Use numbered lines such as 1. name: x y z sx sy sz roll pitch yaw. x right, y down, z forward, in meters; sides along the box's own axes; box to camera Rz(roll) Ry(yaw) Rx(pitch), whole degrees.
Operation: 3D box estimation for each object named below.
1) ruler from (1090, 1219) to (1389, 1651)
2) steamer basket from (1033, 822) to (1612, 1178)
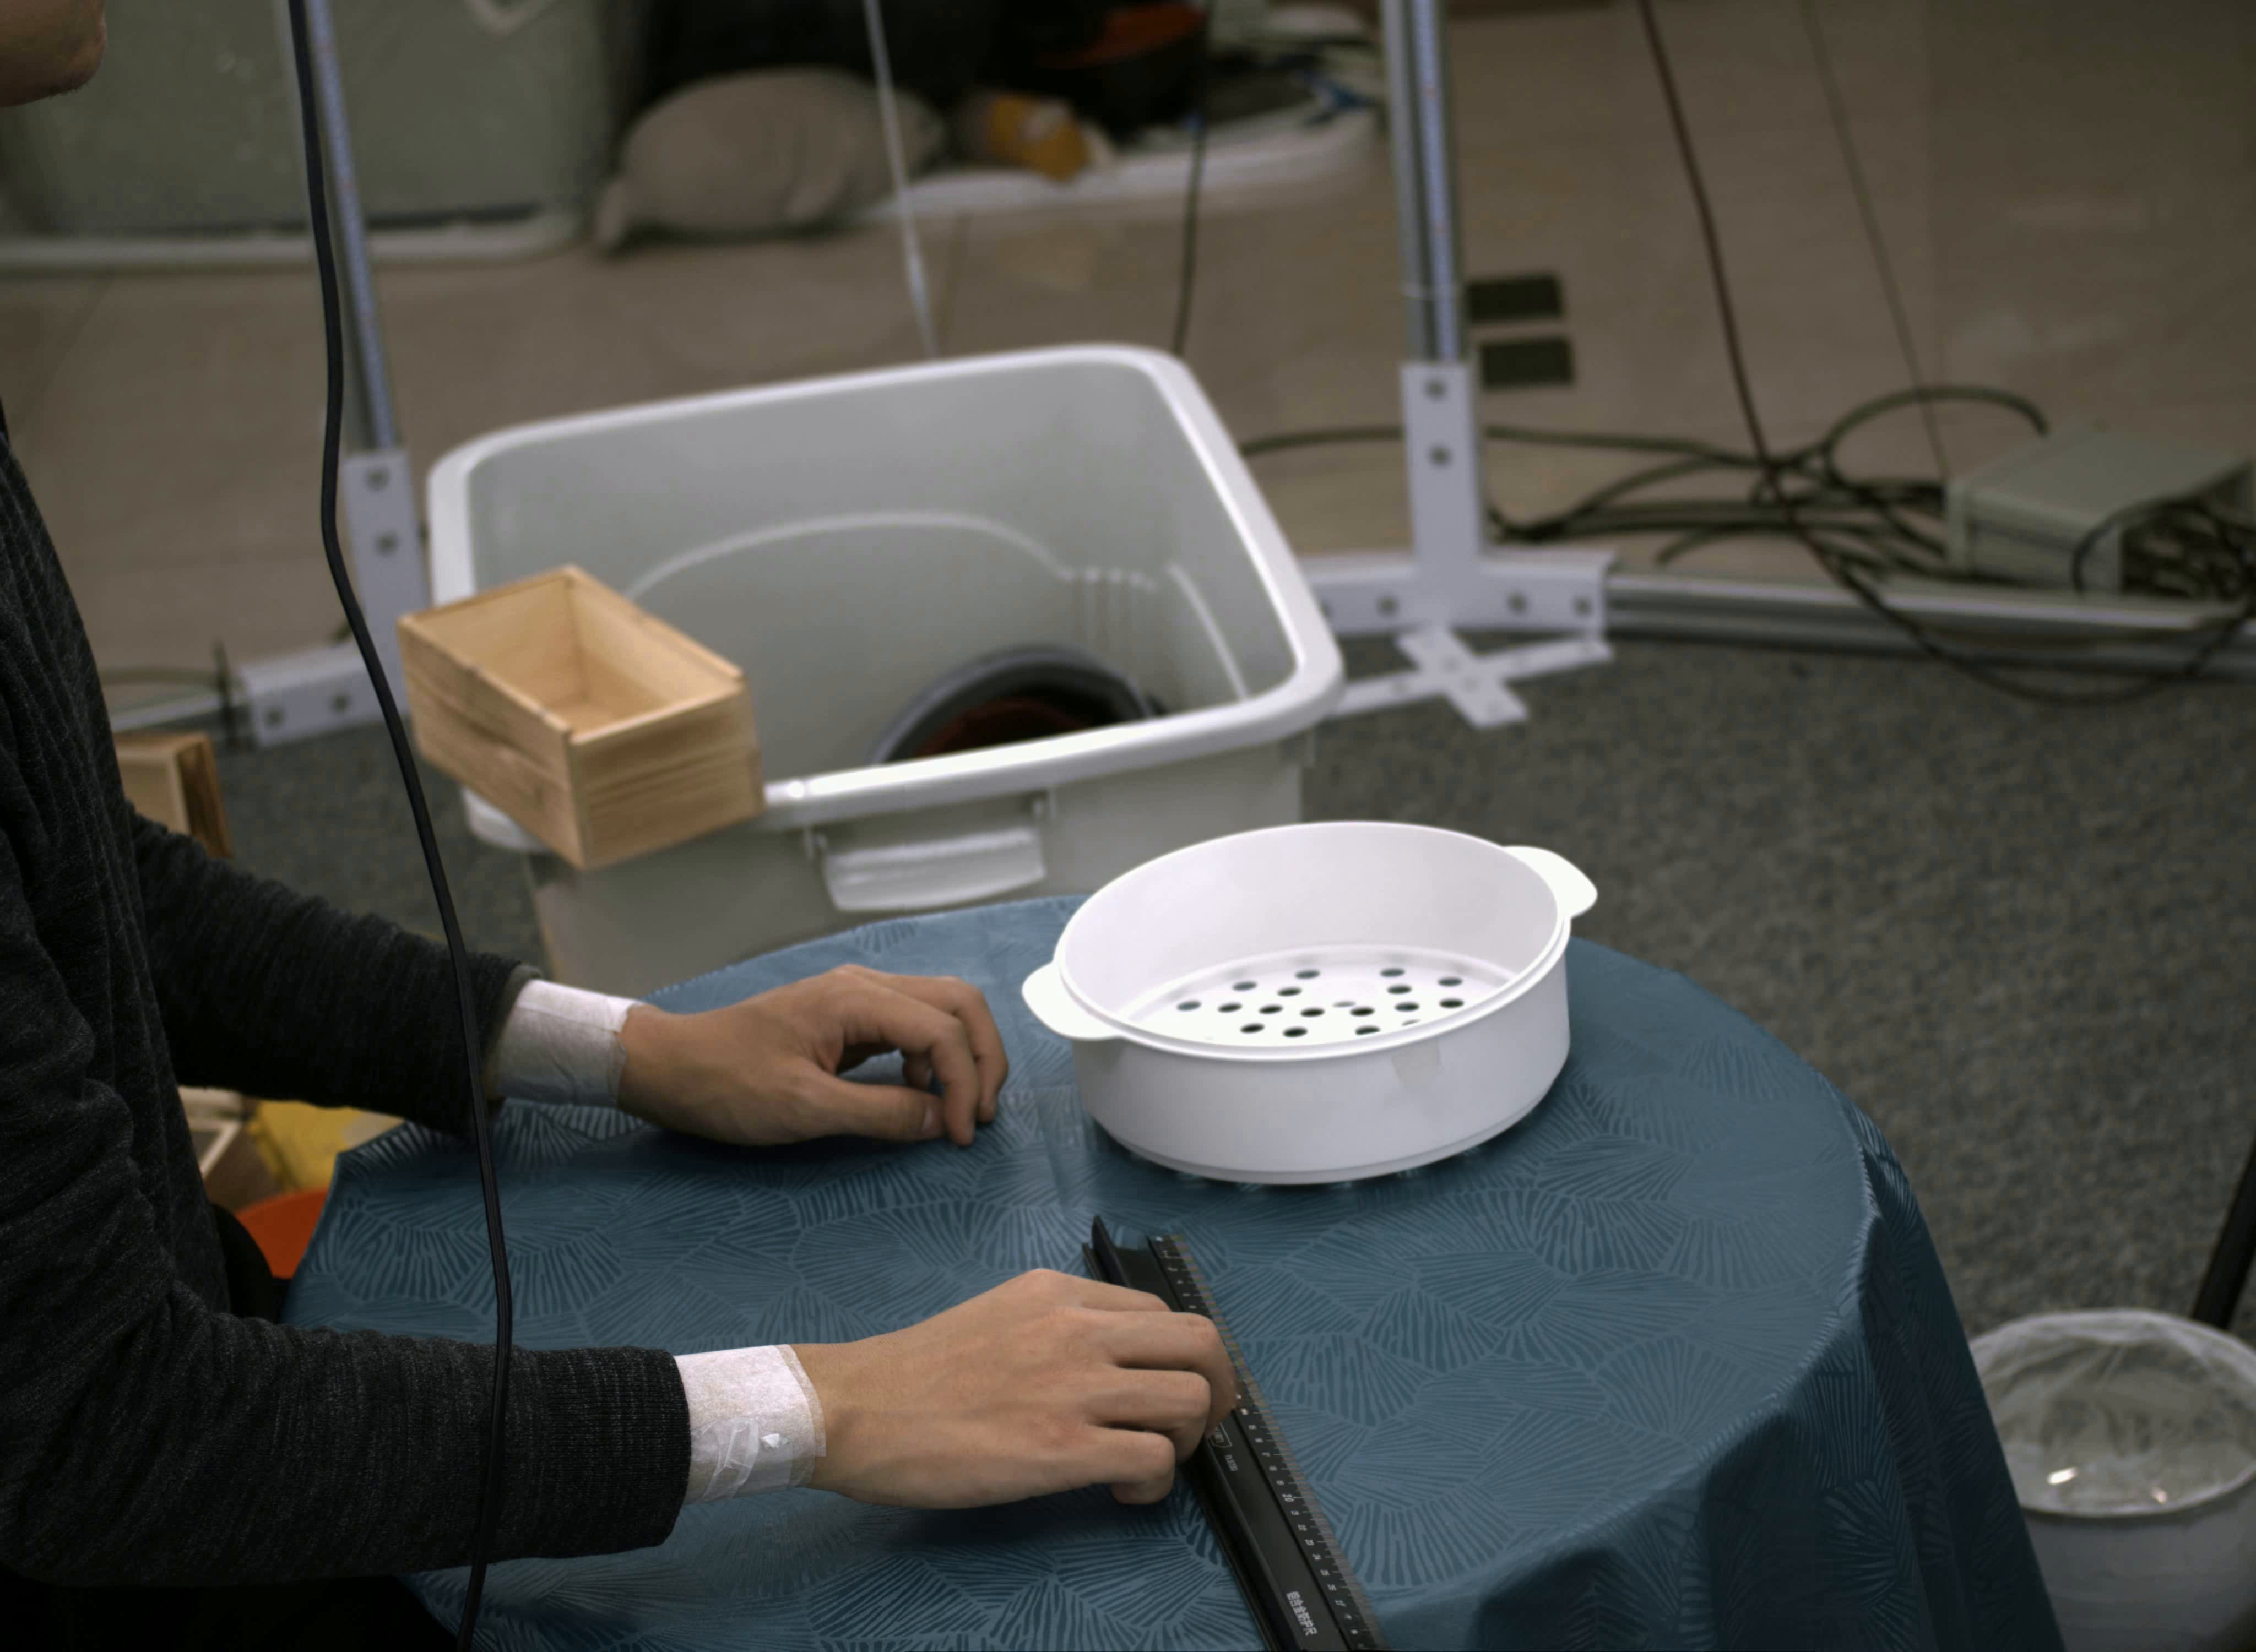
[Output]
1. ruler: 0.036 0.209 1.970 0.039 0.017 0.308 -8 25 -10
2. steamer basket: 0.078 0.068 2.199 0.230 0.070 0.199 -12 25 -17
